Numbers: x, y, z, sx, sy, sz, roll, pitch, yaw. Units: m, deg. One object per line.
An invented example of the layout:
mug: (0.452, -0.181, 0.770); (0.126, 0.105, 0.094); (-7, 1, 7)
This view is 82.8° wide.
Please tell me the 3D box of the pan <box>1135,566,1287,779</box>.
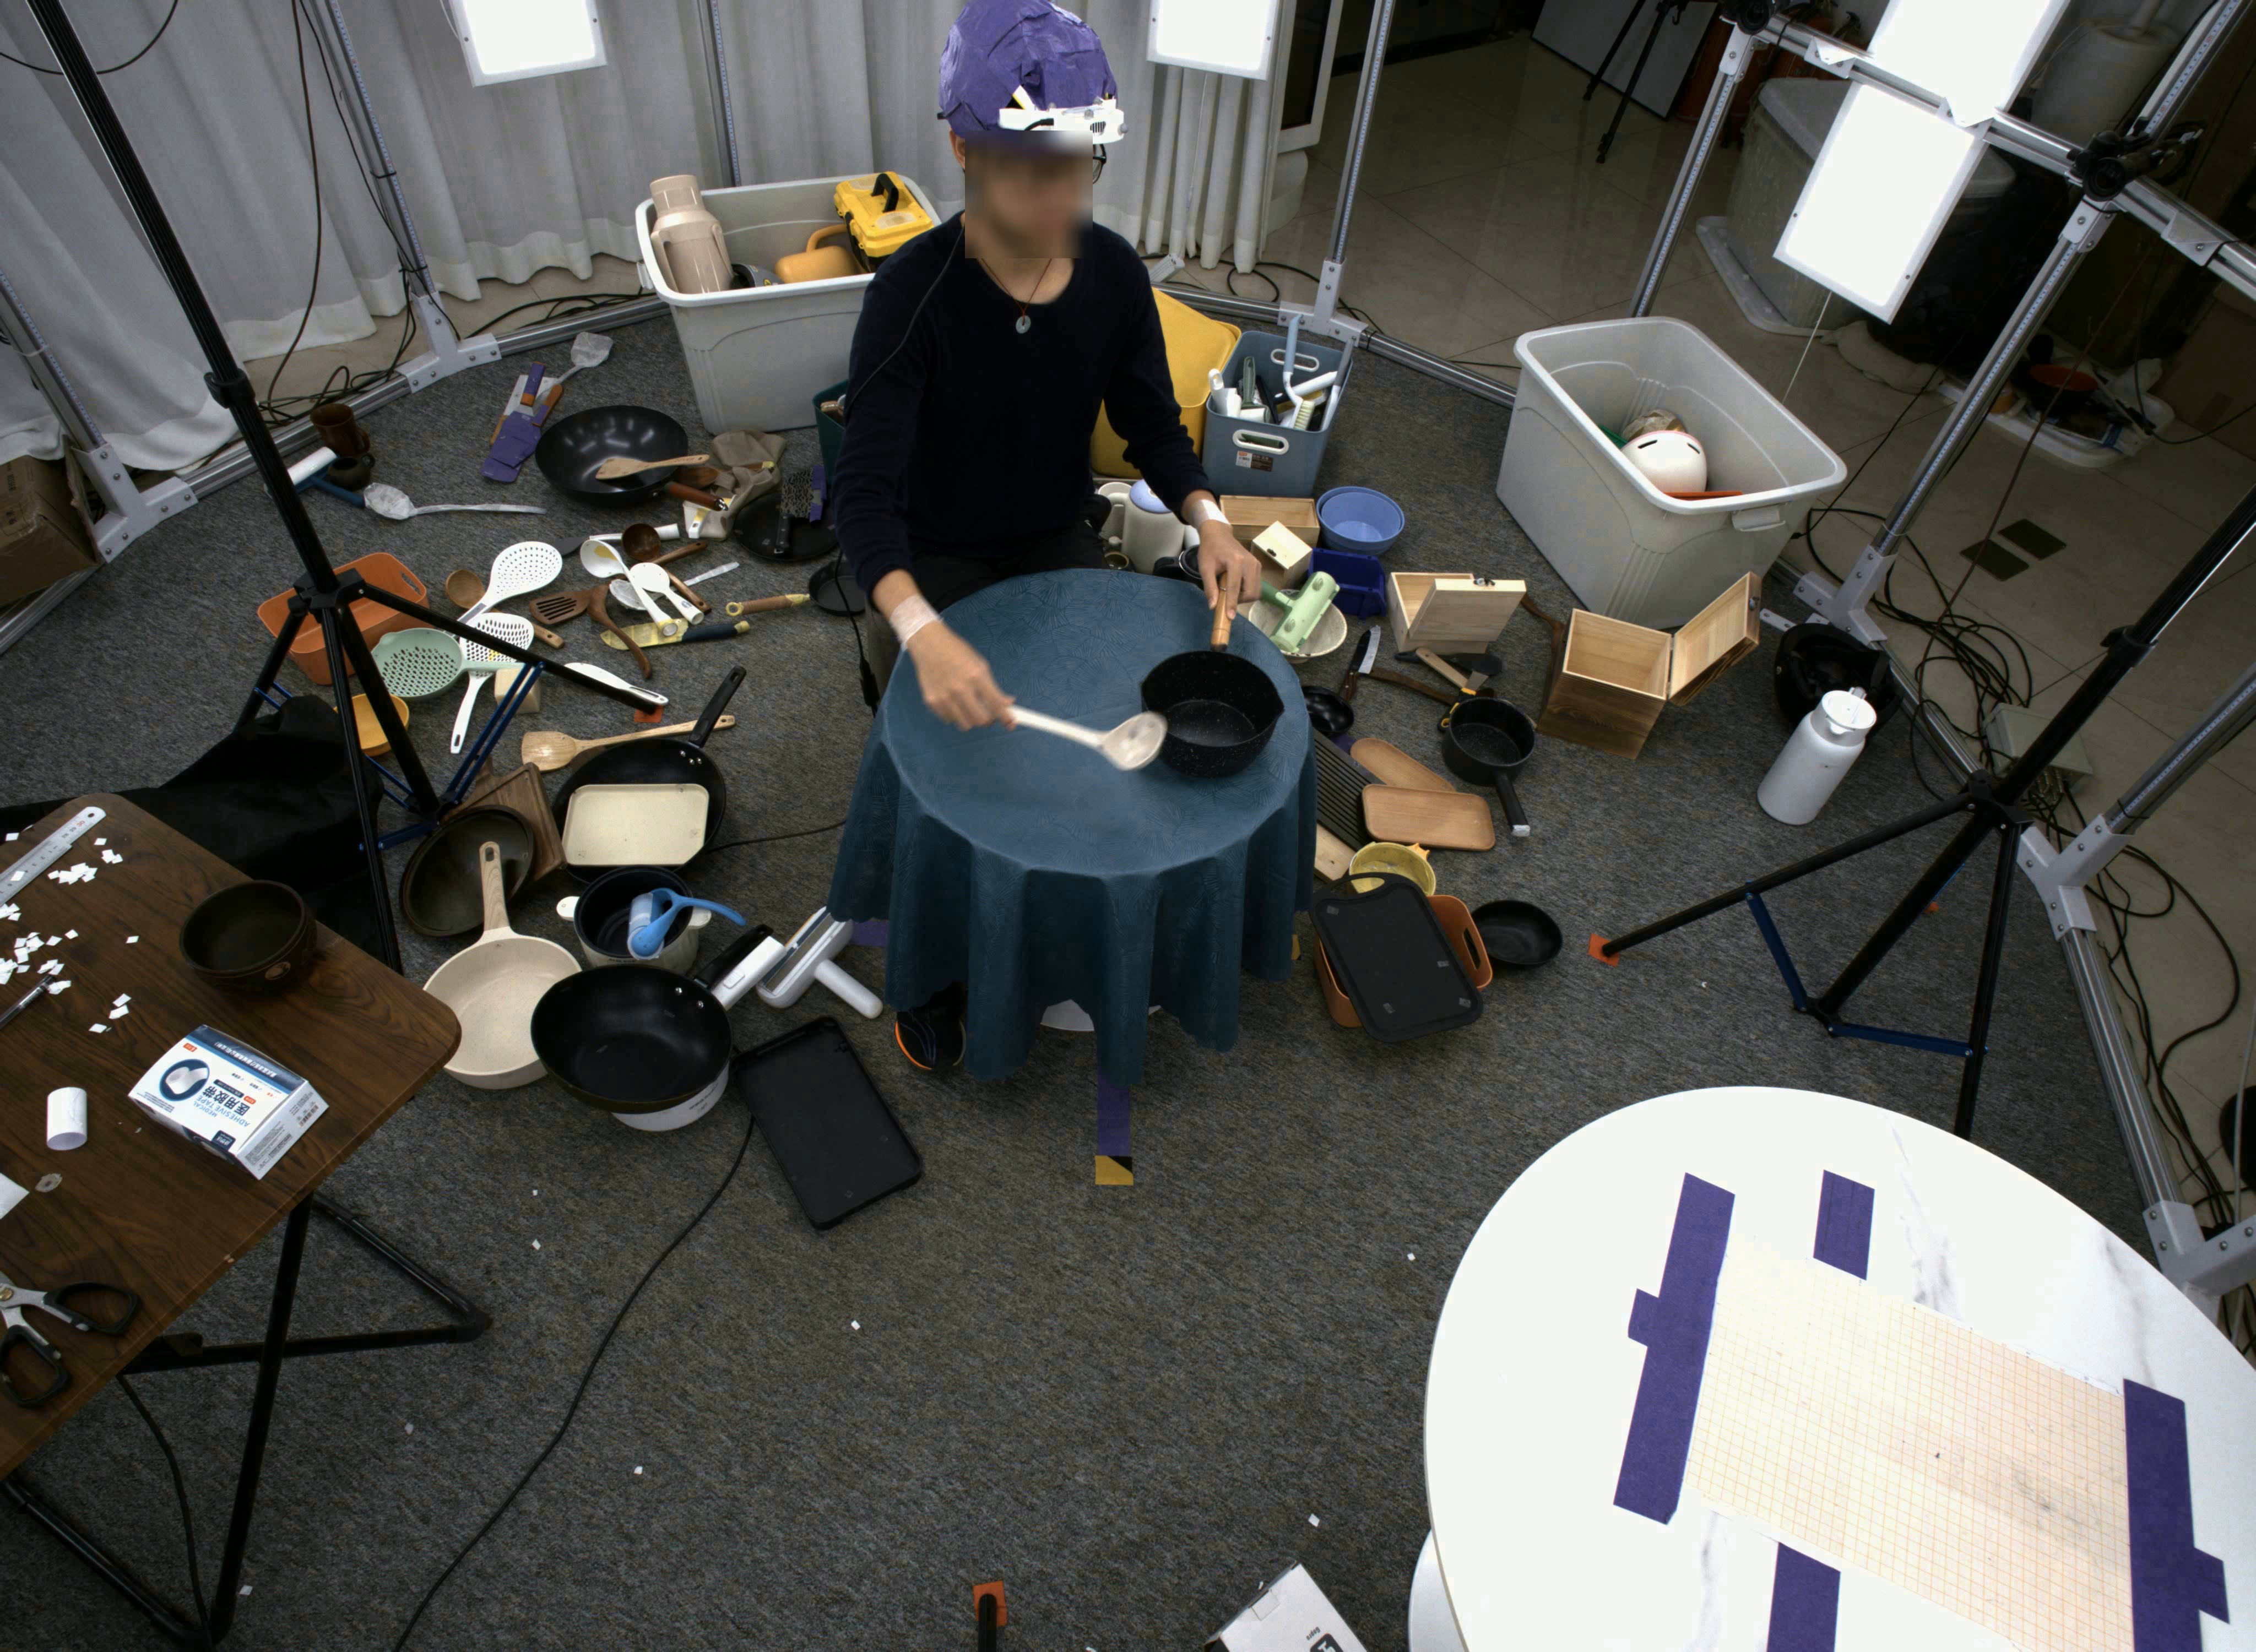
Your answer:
pan: (0.119, -0.216, 1.794); (0.207, 0.105, 0.351); (7, 50, 3)

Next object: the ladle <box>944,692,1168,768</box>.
ladle: (-0.087, -0.139, 1.584); (0.273, 0.068, 0.091); (16, 56, -11)
